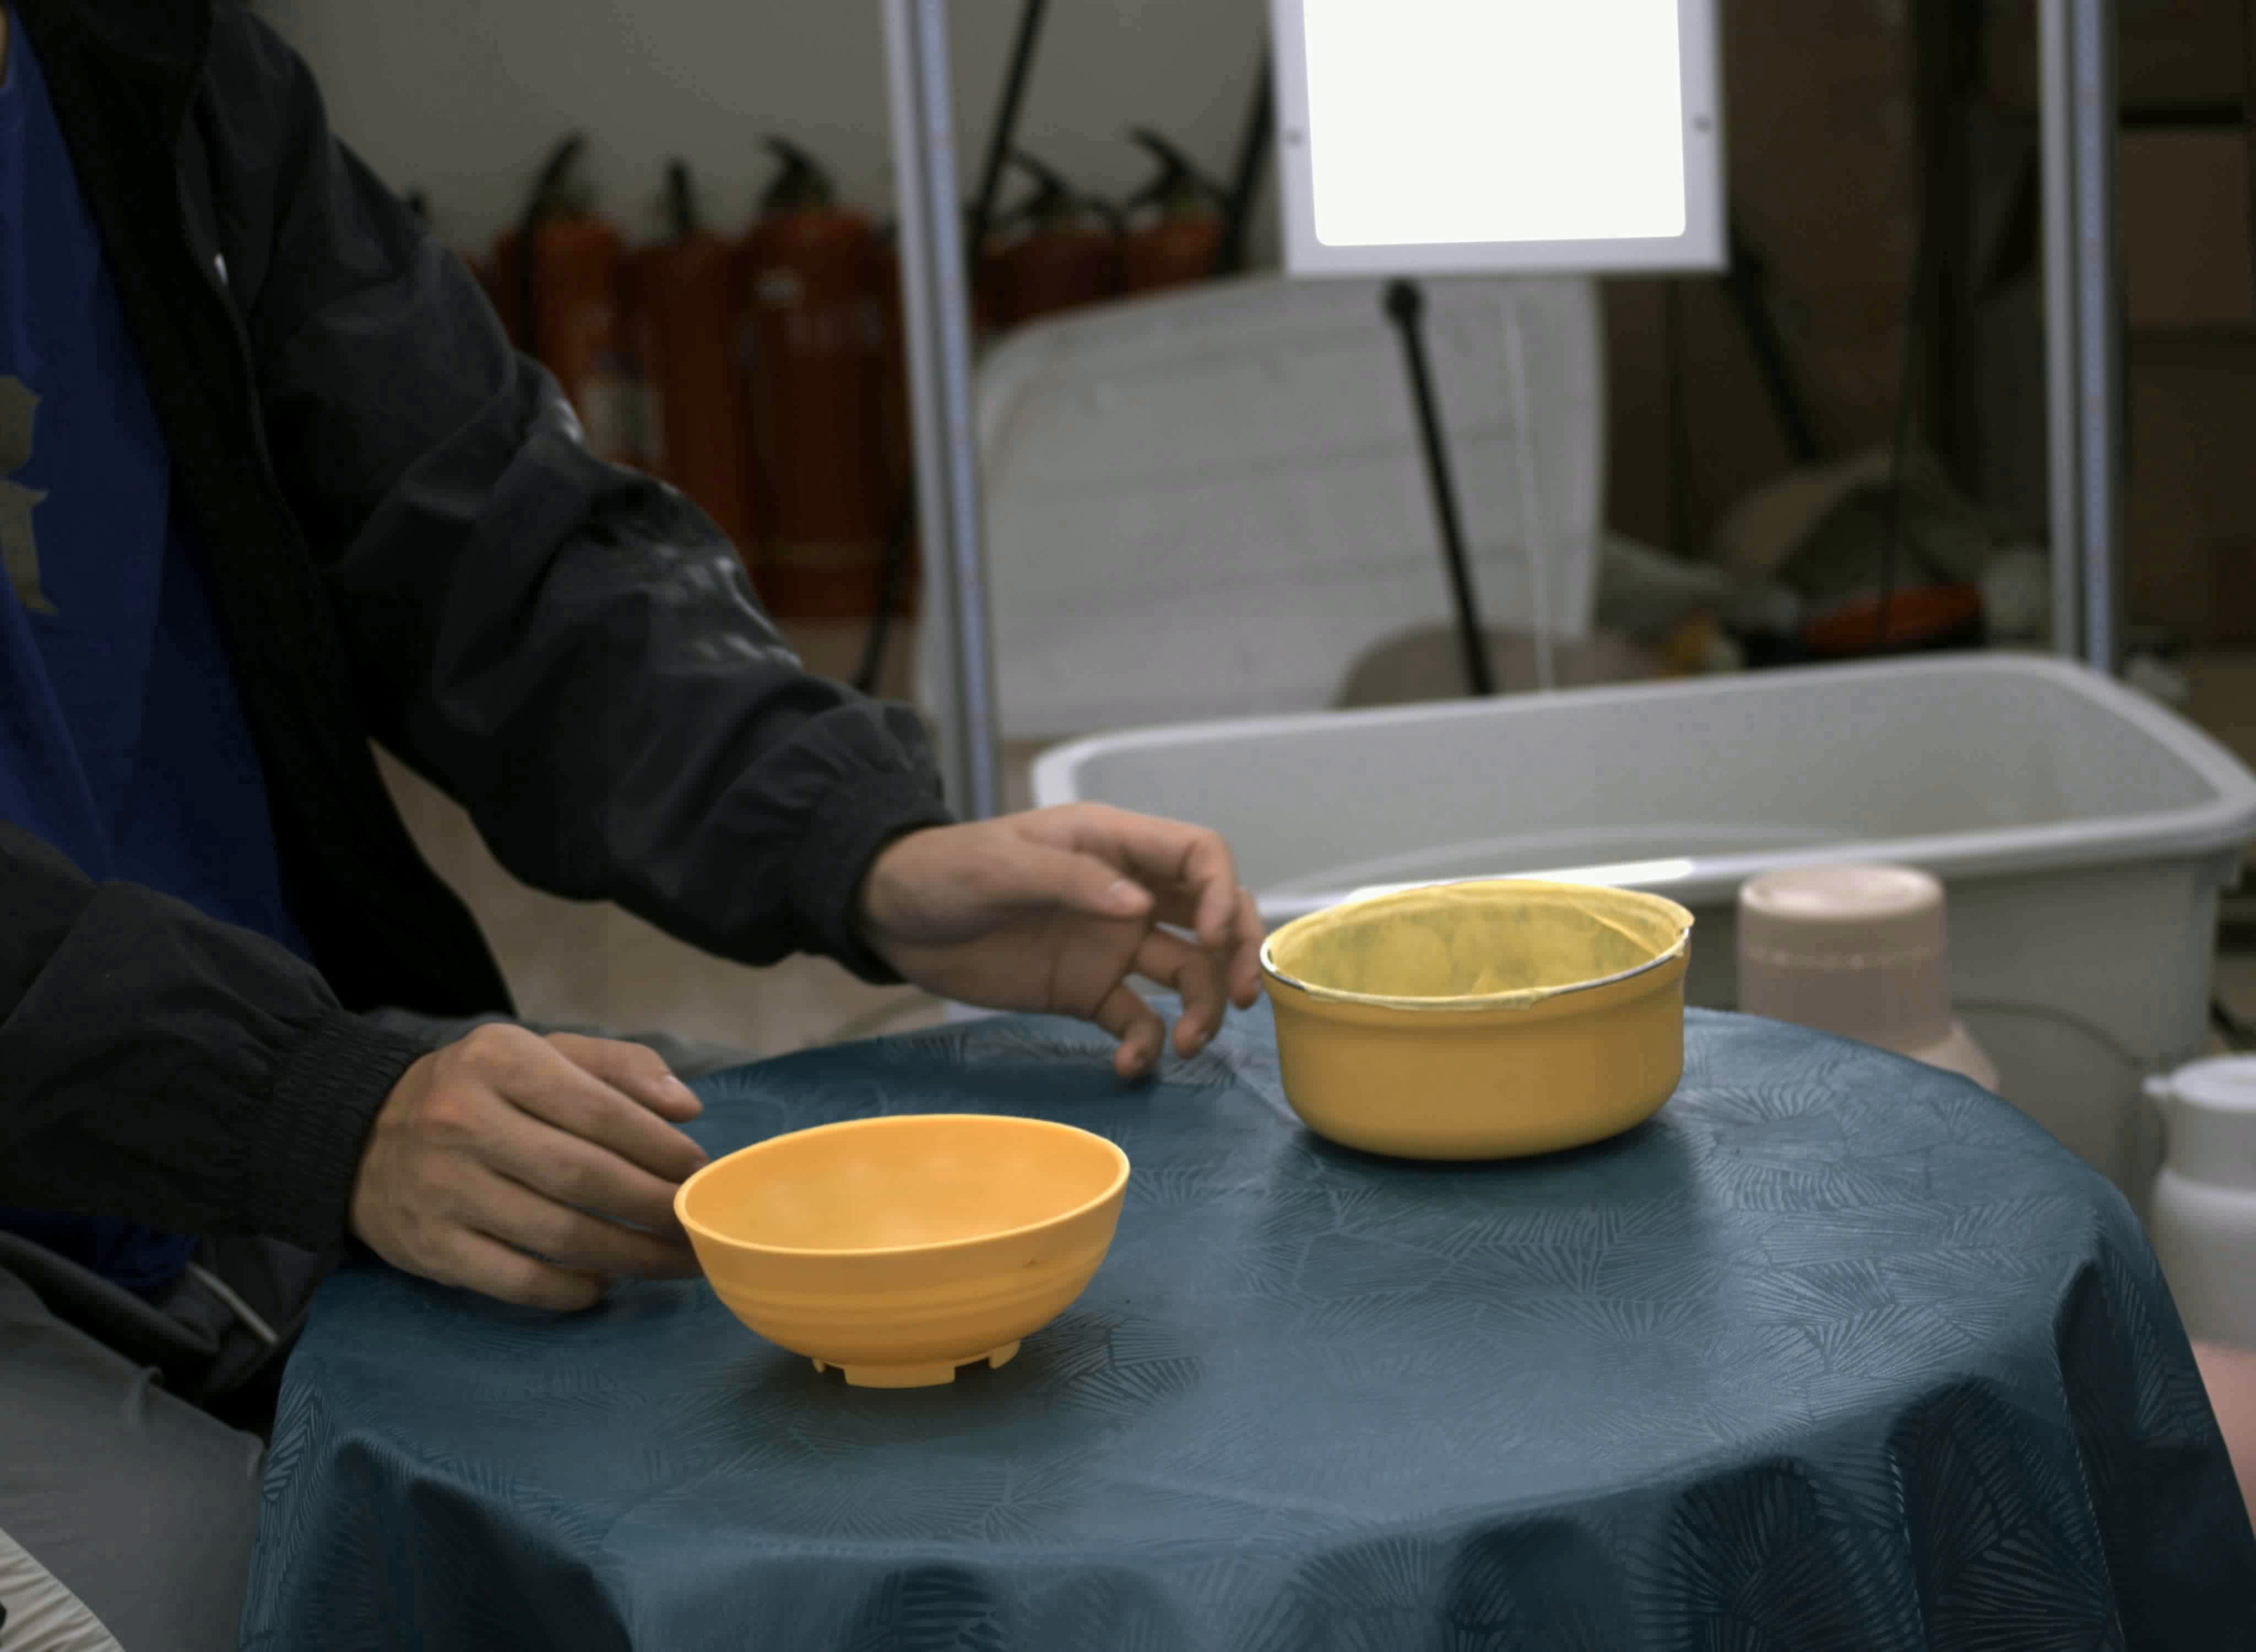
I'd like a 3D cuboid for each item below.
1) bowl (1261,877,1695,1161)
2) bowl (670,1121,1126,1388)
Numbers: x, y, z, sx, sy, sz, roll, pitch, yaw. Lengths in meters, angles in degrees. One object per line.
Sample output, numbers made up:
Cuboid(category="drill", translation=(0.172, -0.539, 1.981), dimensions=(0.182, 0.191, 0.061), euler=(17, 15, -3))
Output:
Cuboid(category="bowl", translation=(0.129, 0.067, 1.948), dimensions=(0.154, 0.074, 0.177), euler=(-4, 15, 13))
Cuboid(category="bowl", translation=(-0.072, 0.140, 1.745), dimensions=(0.145, 0.060, 0.145), euler=(-3, 12, -1))
